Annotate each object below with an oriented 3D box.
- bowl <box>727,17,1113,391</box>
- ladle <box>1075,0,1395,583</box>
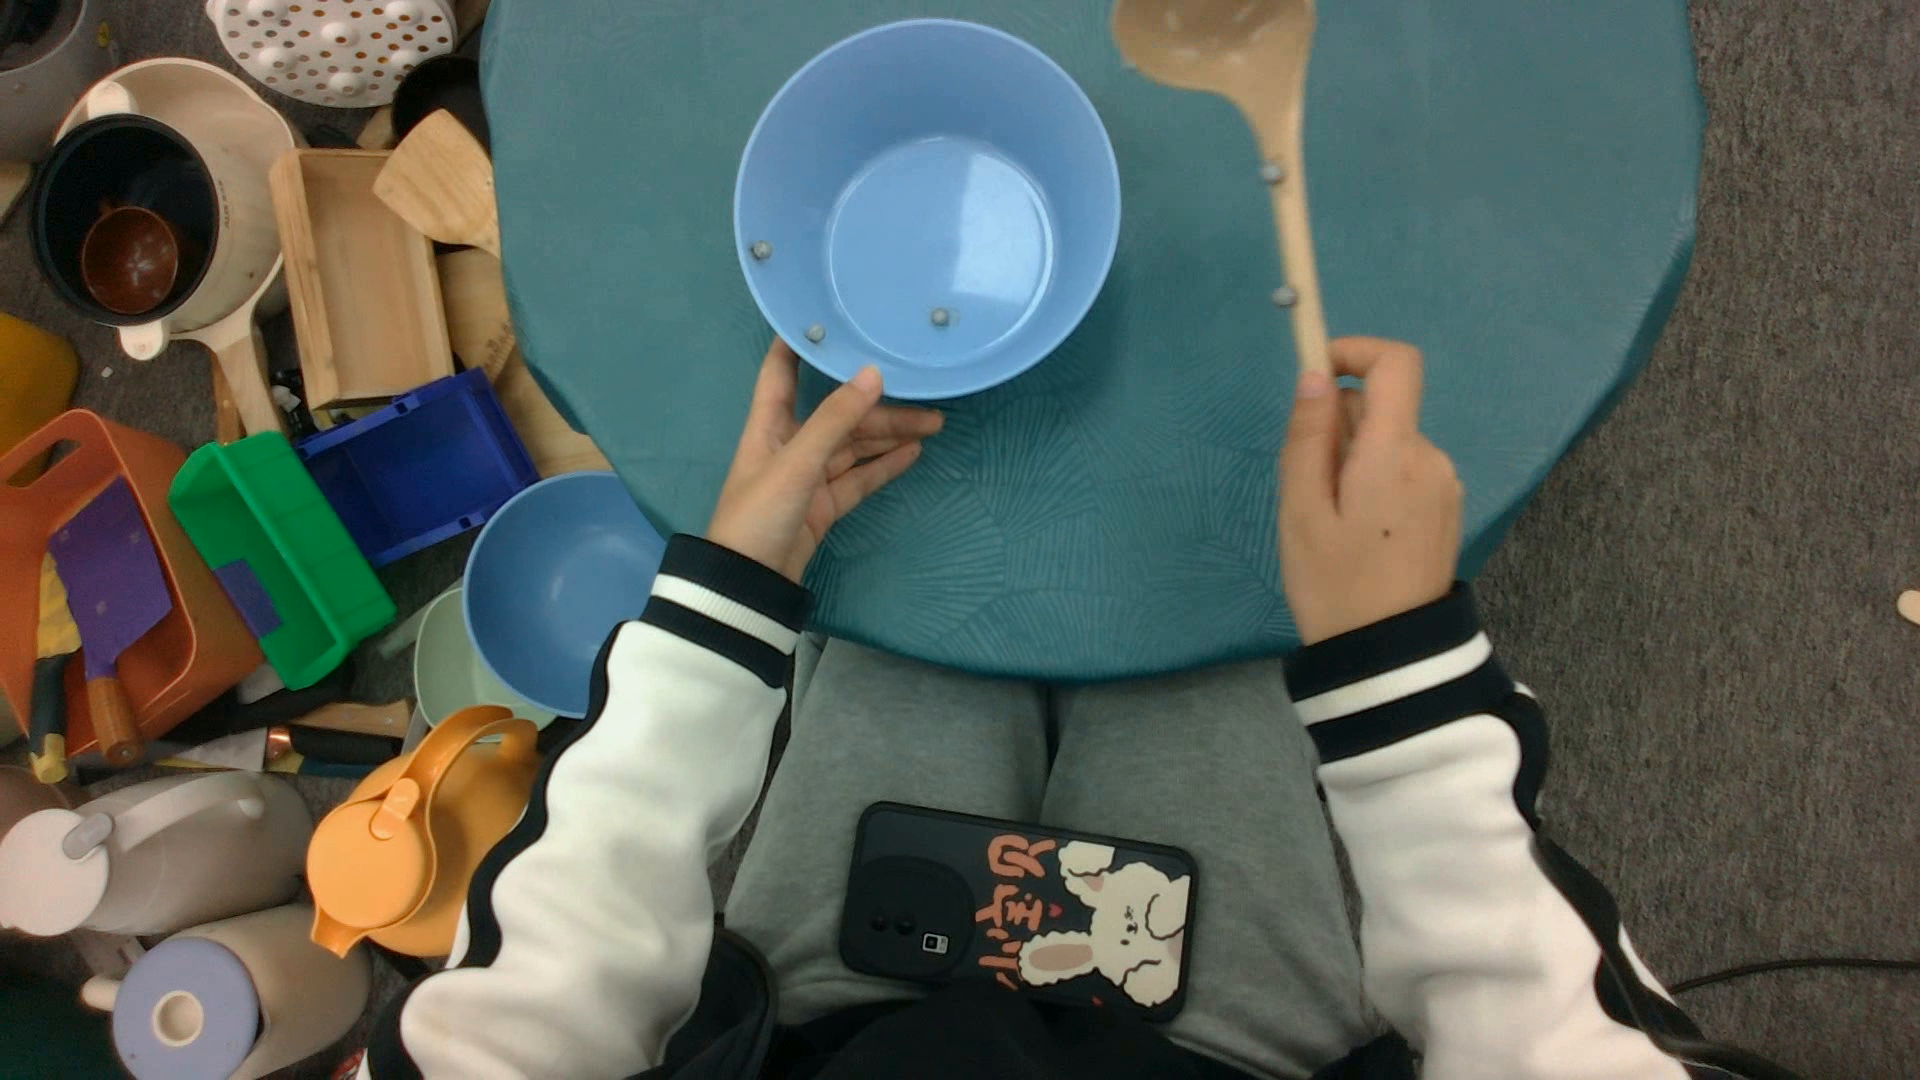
[{"bbox_3d":[-0.016,-0.150,0.652,0.176,0.070,0.176,-1,82,6],"label":"bowl"},{"bbox_3d":[0.107,-0.101,0.519,0.072,0.073,0.254,-20,84,40],"label":"ladle"}]
